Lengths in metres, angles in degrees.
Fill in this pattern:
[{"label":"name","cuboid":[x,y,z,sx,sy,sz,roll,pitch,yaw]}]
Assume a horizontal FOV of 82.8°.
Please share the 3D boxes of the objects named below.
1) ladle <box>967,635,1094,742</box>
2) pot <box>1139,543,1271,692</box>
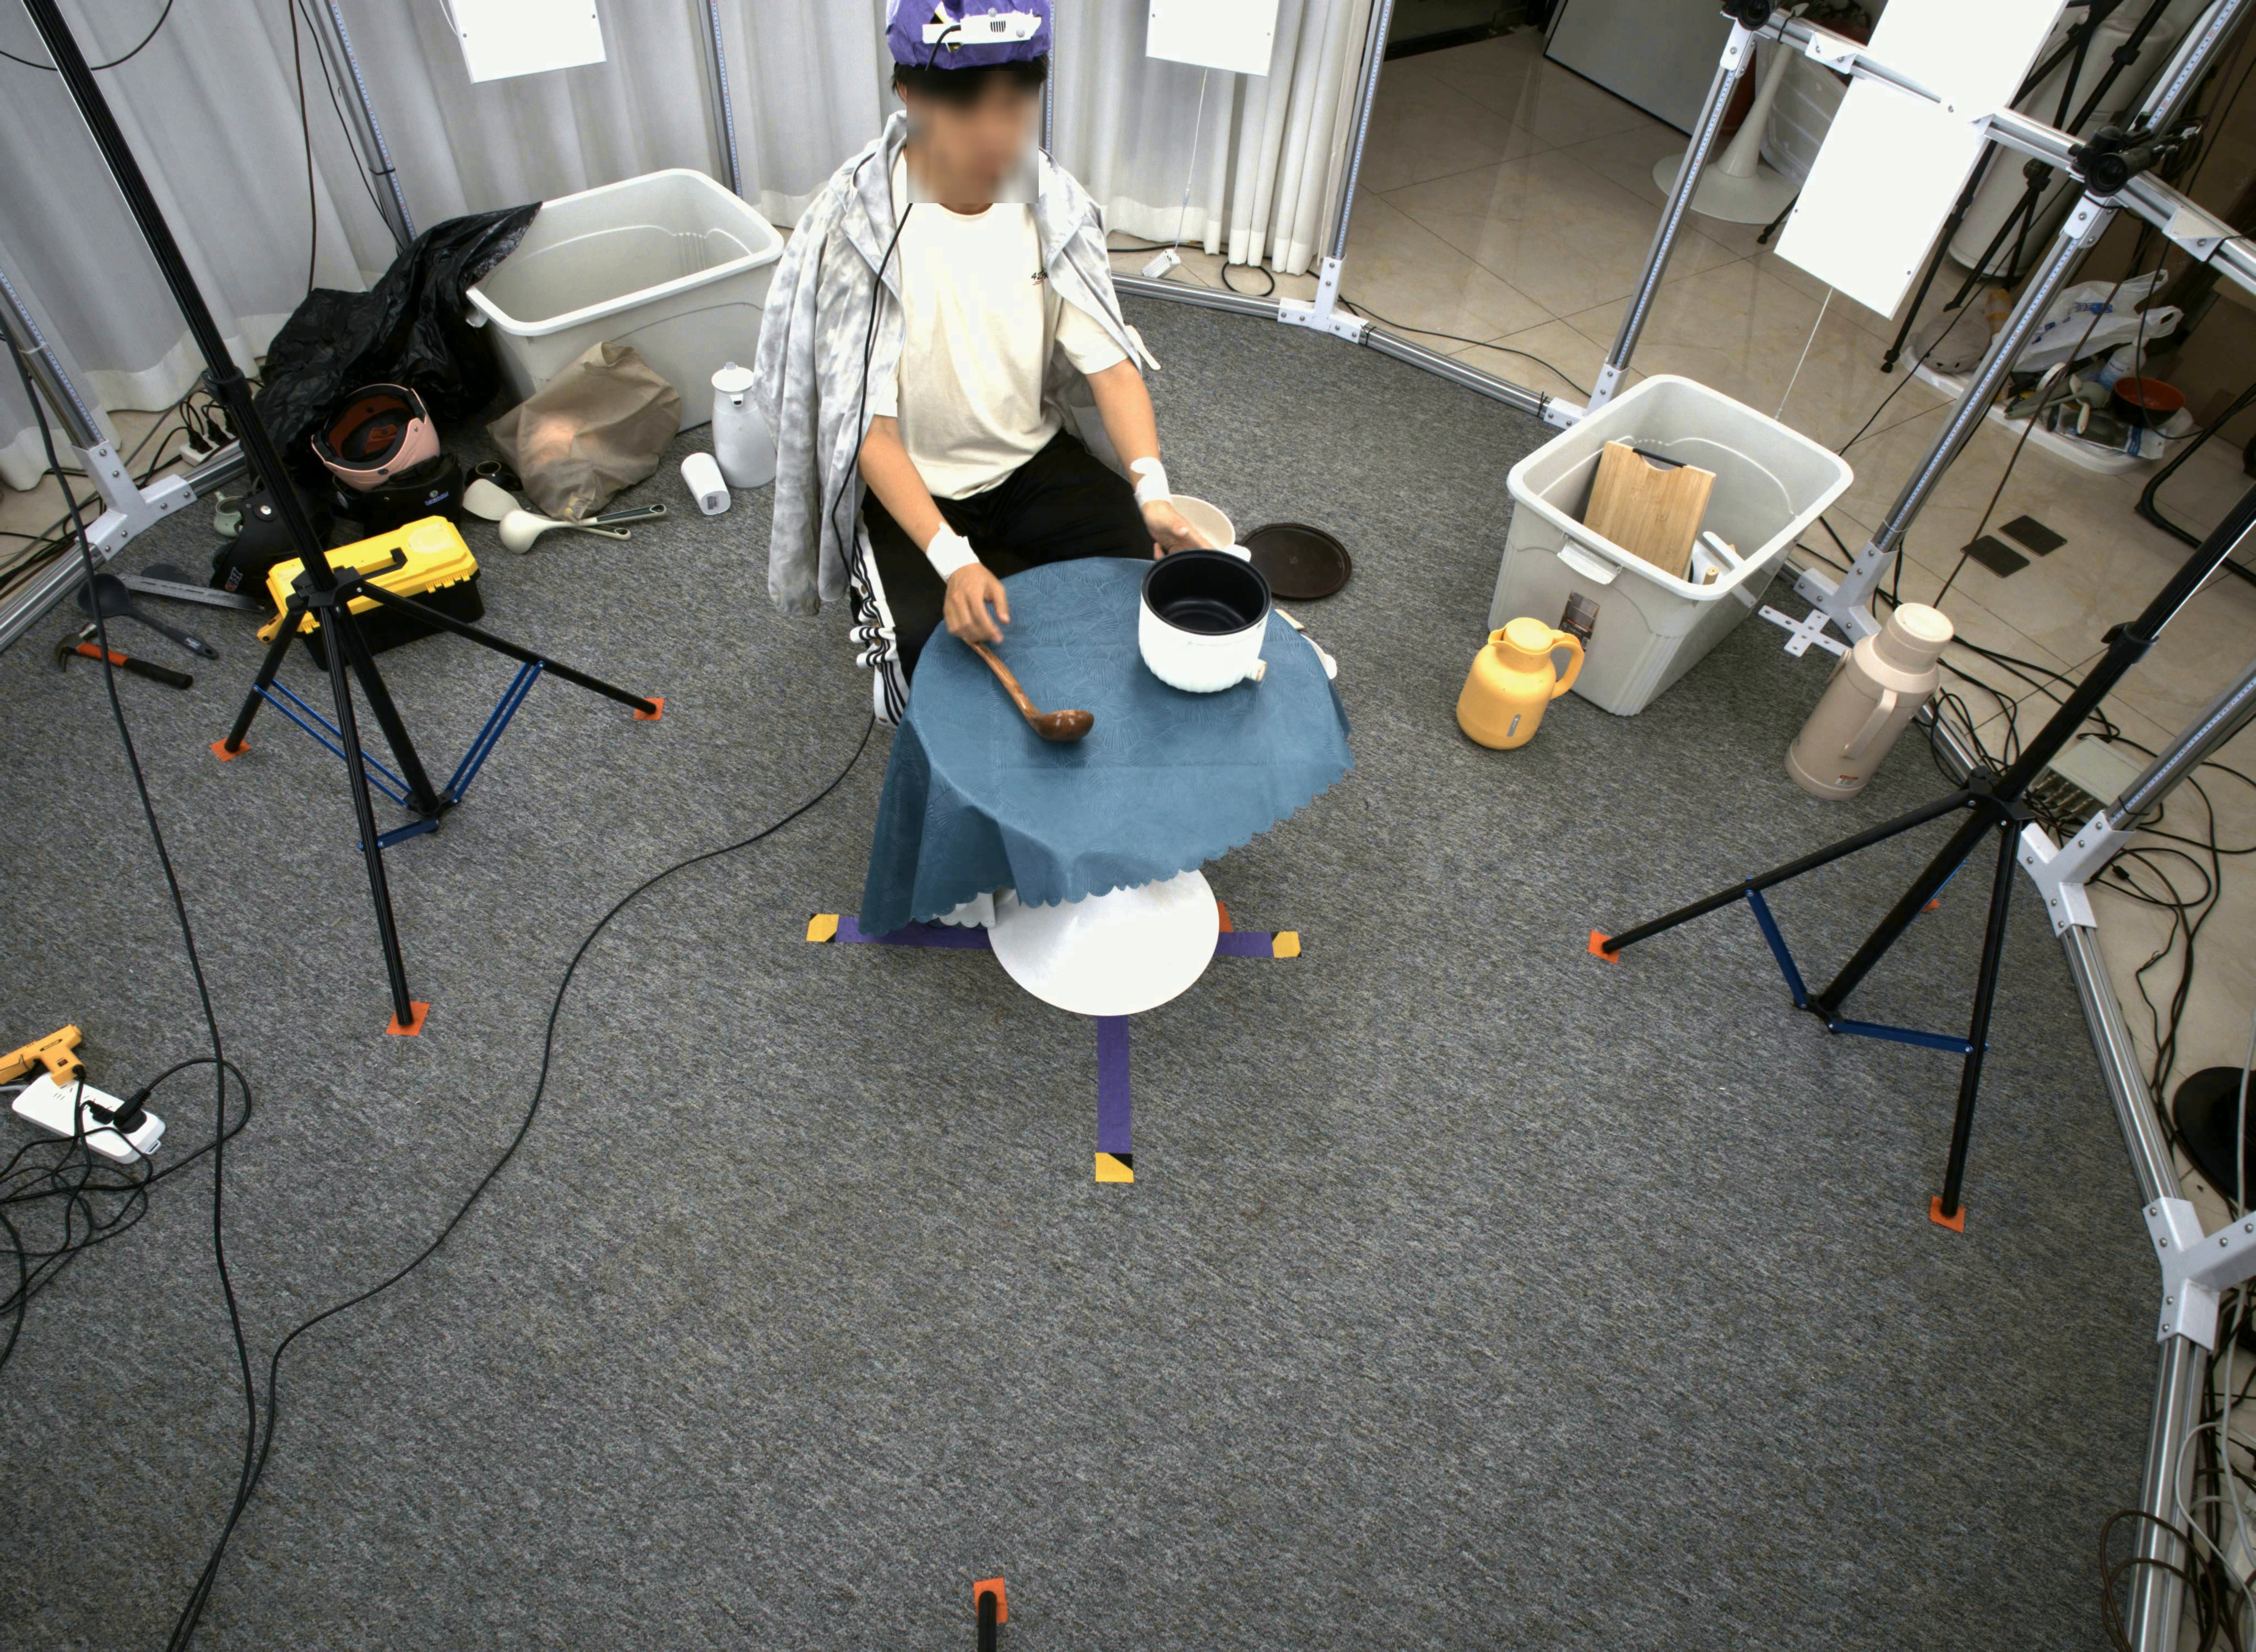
[{"label":"ladle","cuboid":[-0.142,-0.208,1.787,0.081,0.076,0.280,17,29,-49]},{"label":"pot","cuboid":[0.111,-0.285,1.826,0.192,0.139,0.244,21,52,19]}]
